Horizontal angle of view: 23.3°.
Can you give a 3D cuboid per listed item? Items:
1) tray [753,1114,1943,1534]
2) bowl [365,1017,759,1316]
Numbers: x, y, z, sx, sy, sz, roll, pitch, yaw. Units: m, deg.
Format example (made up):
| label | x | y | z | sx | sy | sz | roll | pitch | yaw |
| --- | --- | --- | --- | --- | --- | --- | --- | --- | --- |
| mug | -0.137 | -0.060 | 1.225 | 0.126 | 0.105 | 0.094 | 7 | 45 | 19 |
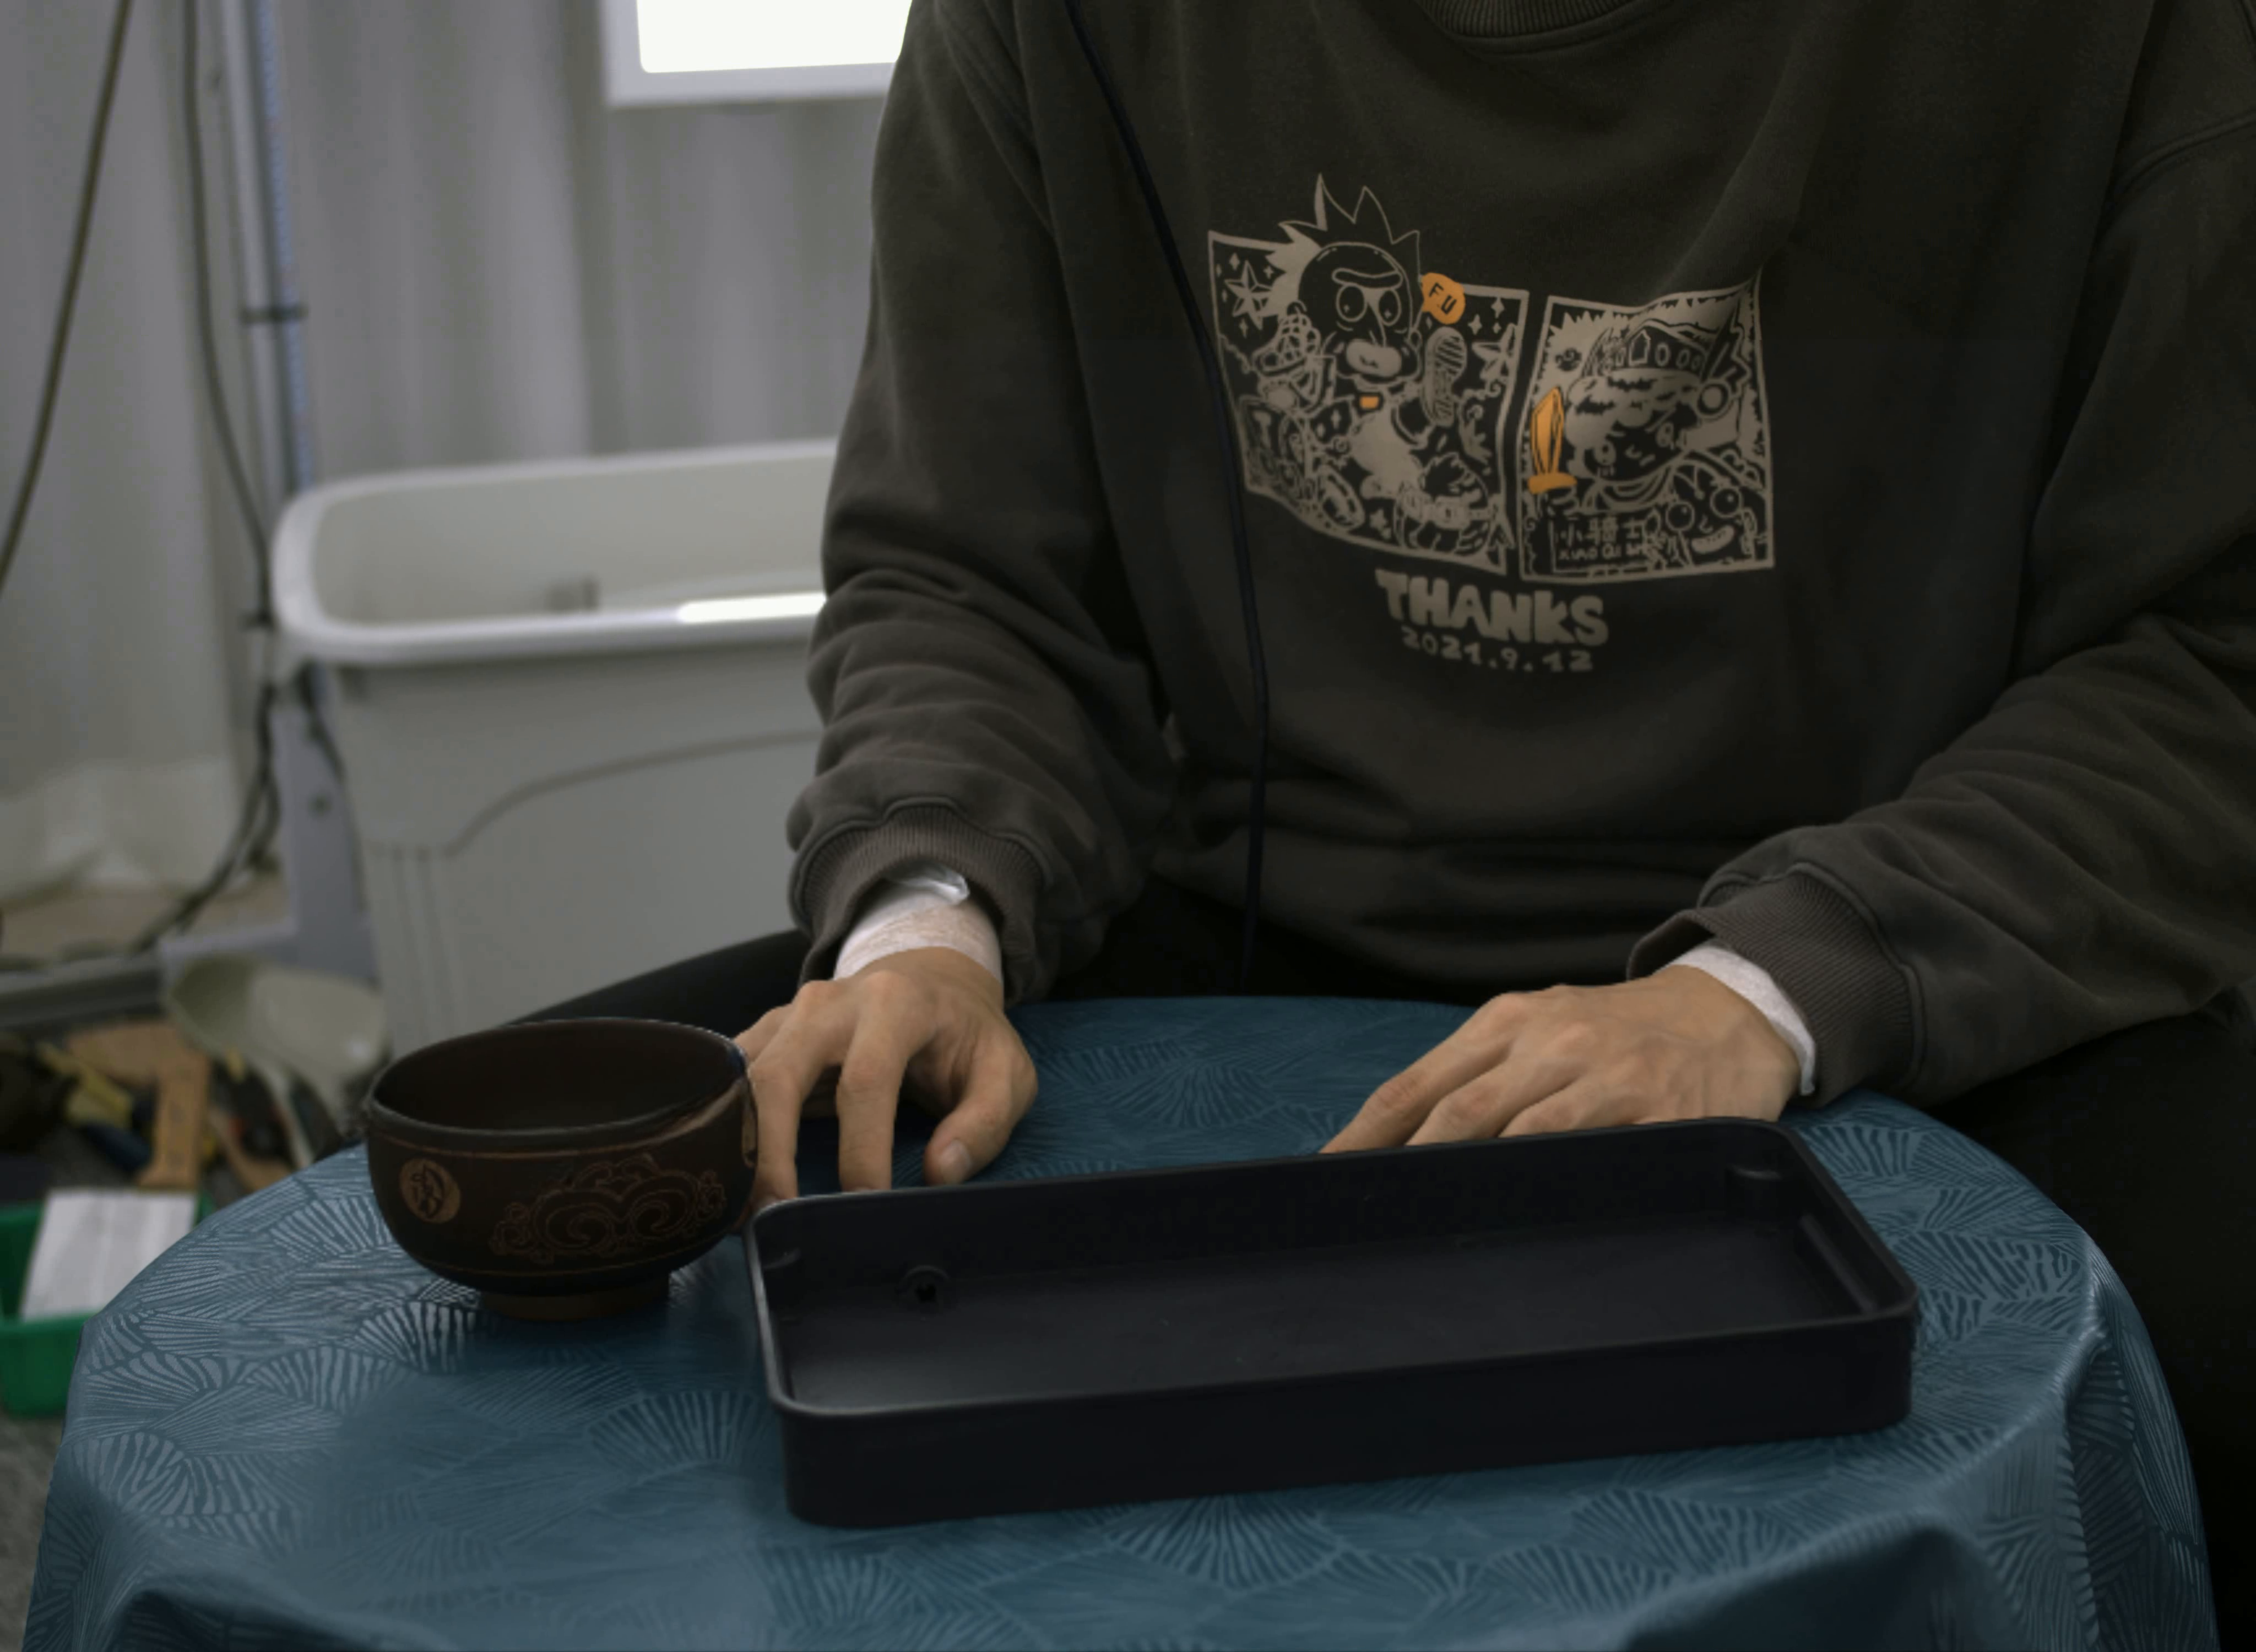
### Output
| label | x | y | z | sx | sy | sz | roll | pitch | yaw |
| --- | --- | --- | --- | --- | --- | --- | --- | --- | --- |
| tray | 0.058 | 0.138 | 1.555 | 0.316 | 0.037 | 0.185 | -5 | 15 | -8 |
| bowl | -0.169 | 0.106 | 1.650 | 0.117 | 0.069 | 0.119 | -2 | 13 | 0 |
